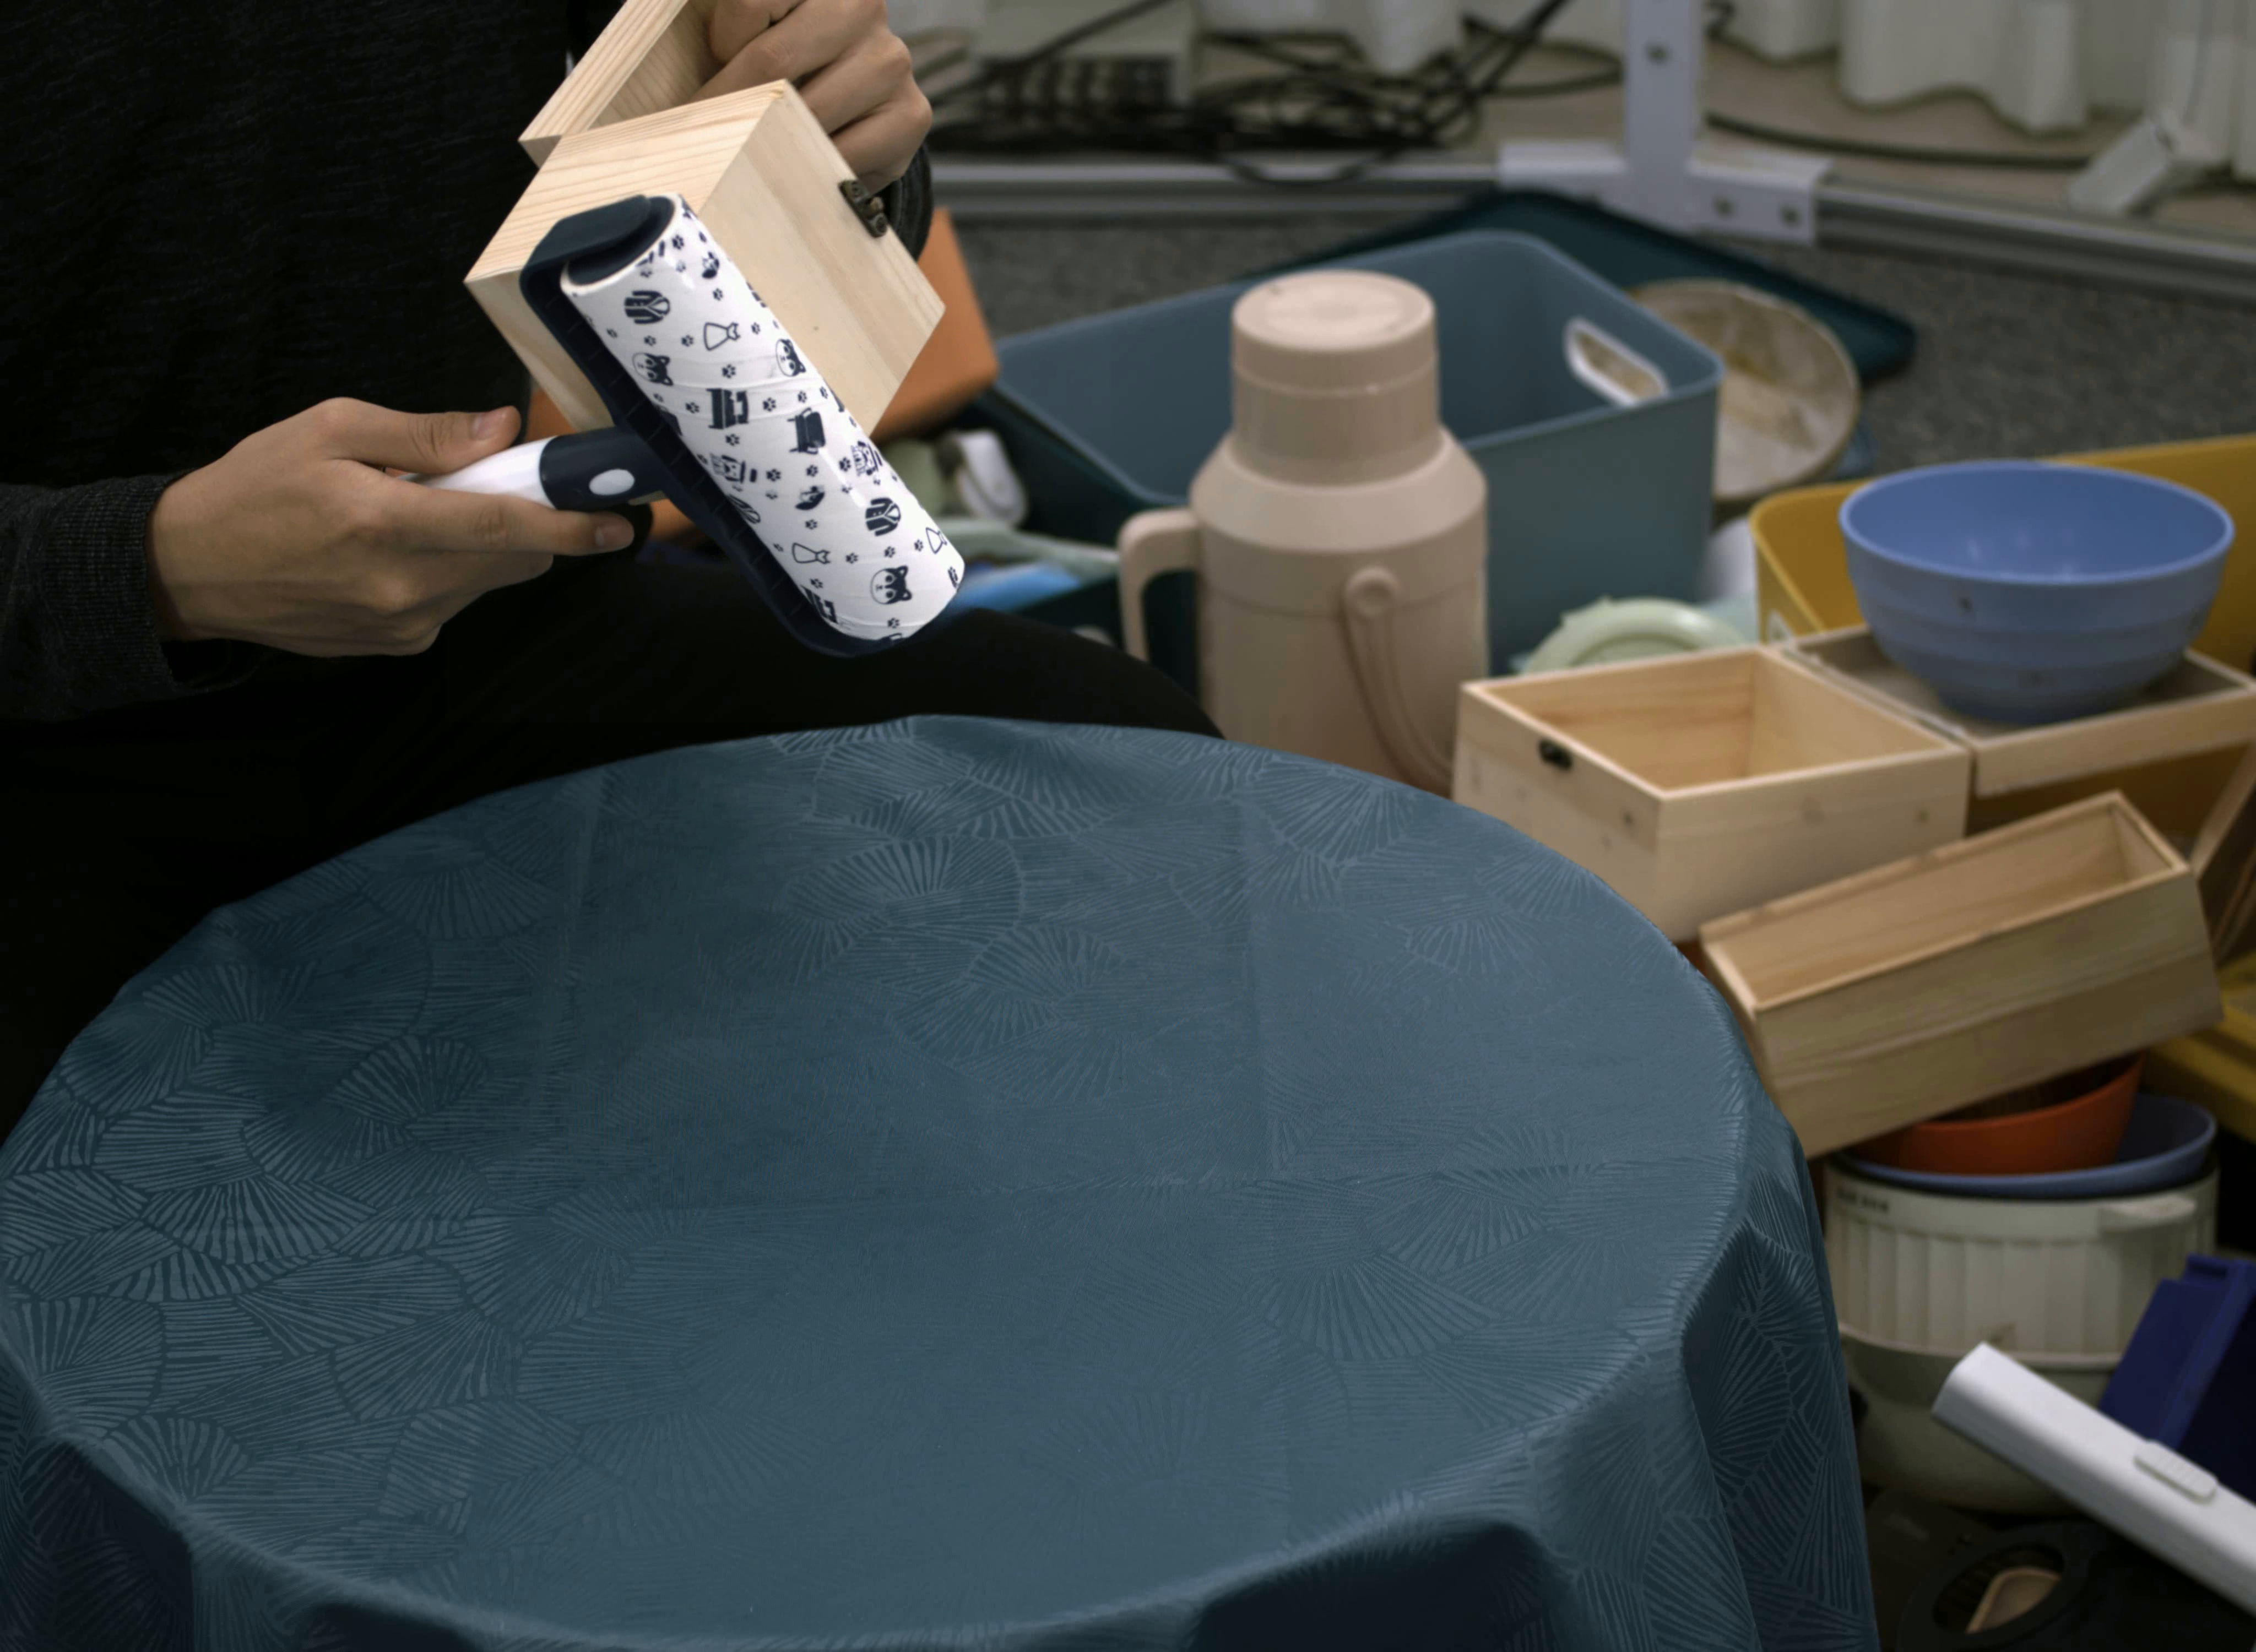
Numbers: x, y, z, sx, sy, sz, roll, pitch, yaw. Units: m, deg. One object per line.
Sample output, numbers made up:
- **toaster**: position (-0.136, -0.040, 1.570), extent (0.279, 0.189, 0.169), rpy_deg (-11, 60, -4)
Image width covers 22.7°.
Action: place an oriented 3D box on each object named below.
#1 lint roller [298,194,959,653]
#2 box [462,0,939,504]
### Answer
- **lint roller**: position (-0.190, -0.110, 1.859), extent (0.244, 0.175, 0.051), rpy_deg (-14, 36, 39)
- **box**: position (-0.128, -0.211, 1.898), extent (0.132, 0.102, 0.188), rpy_deg (-9, 38, 37)
